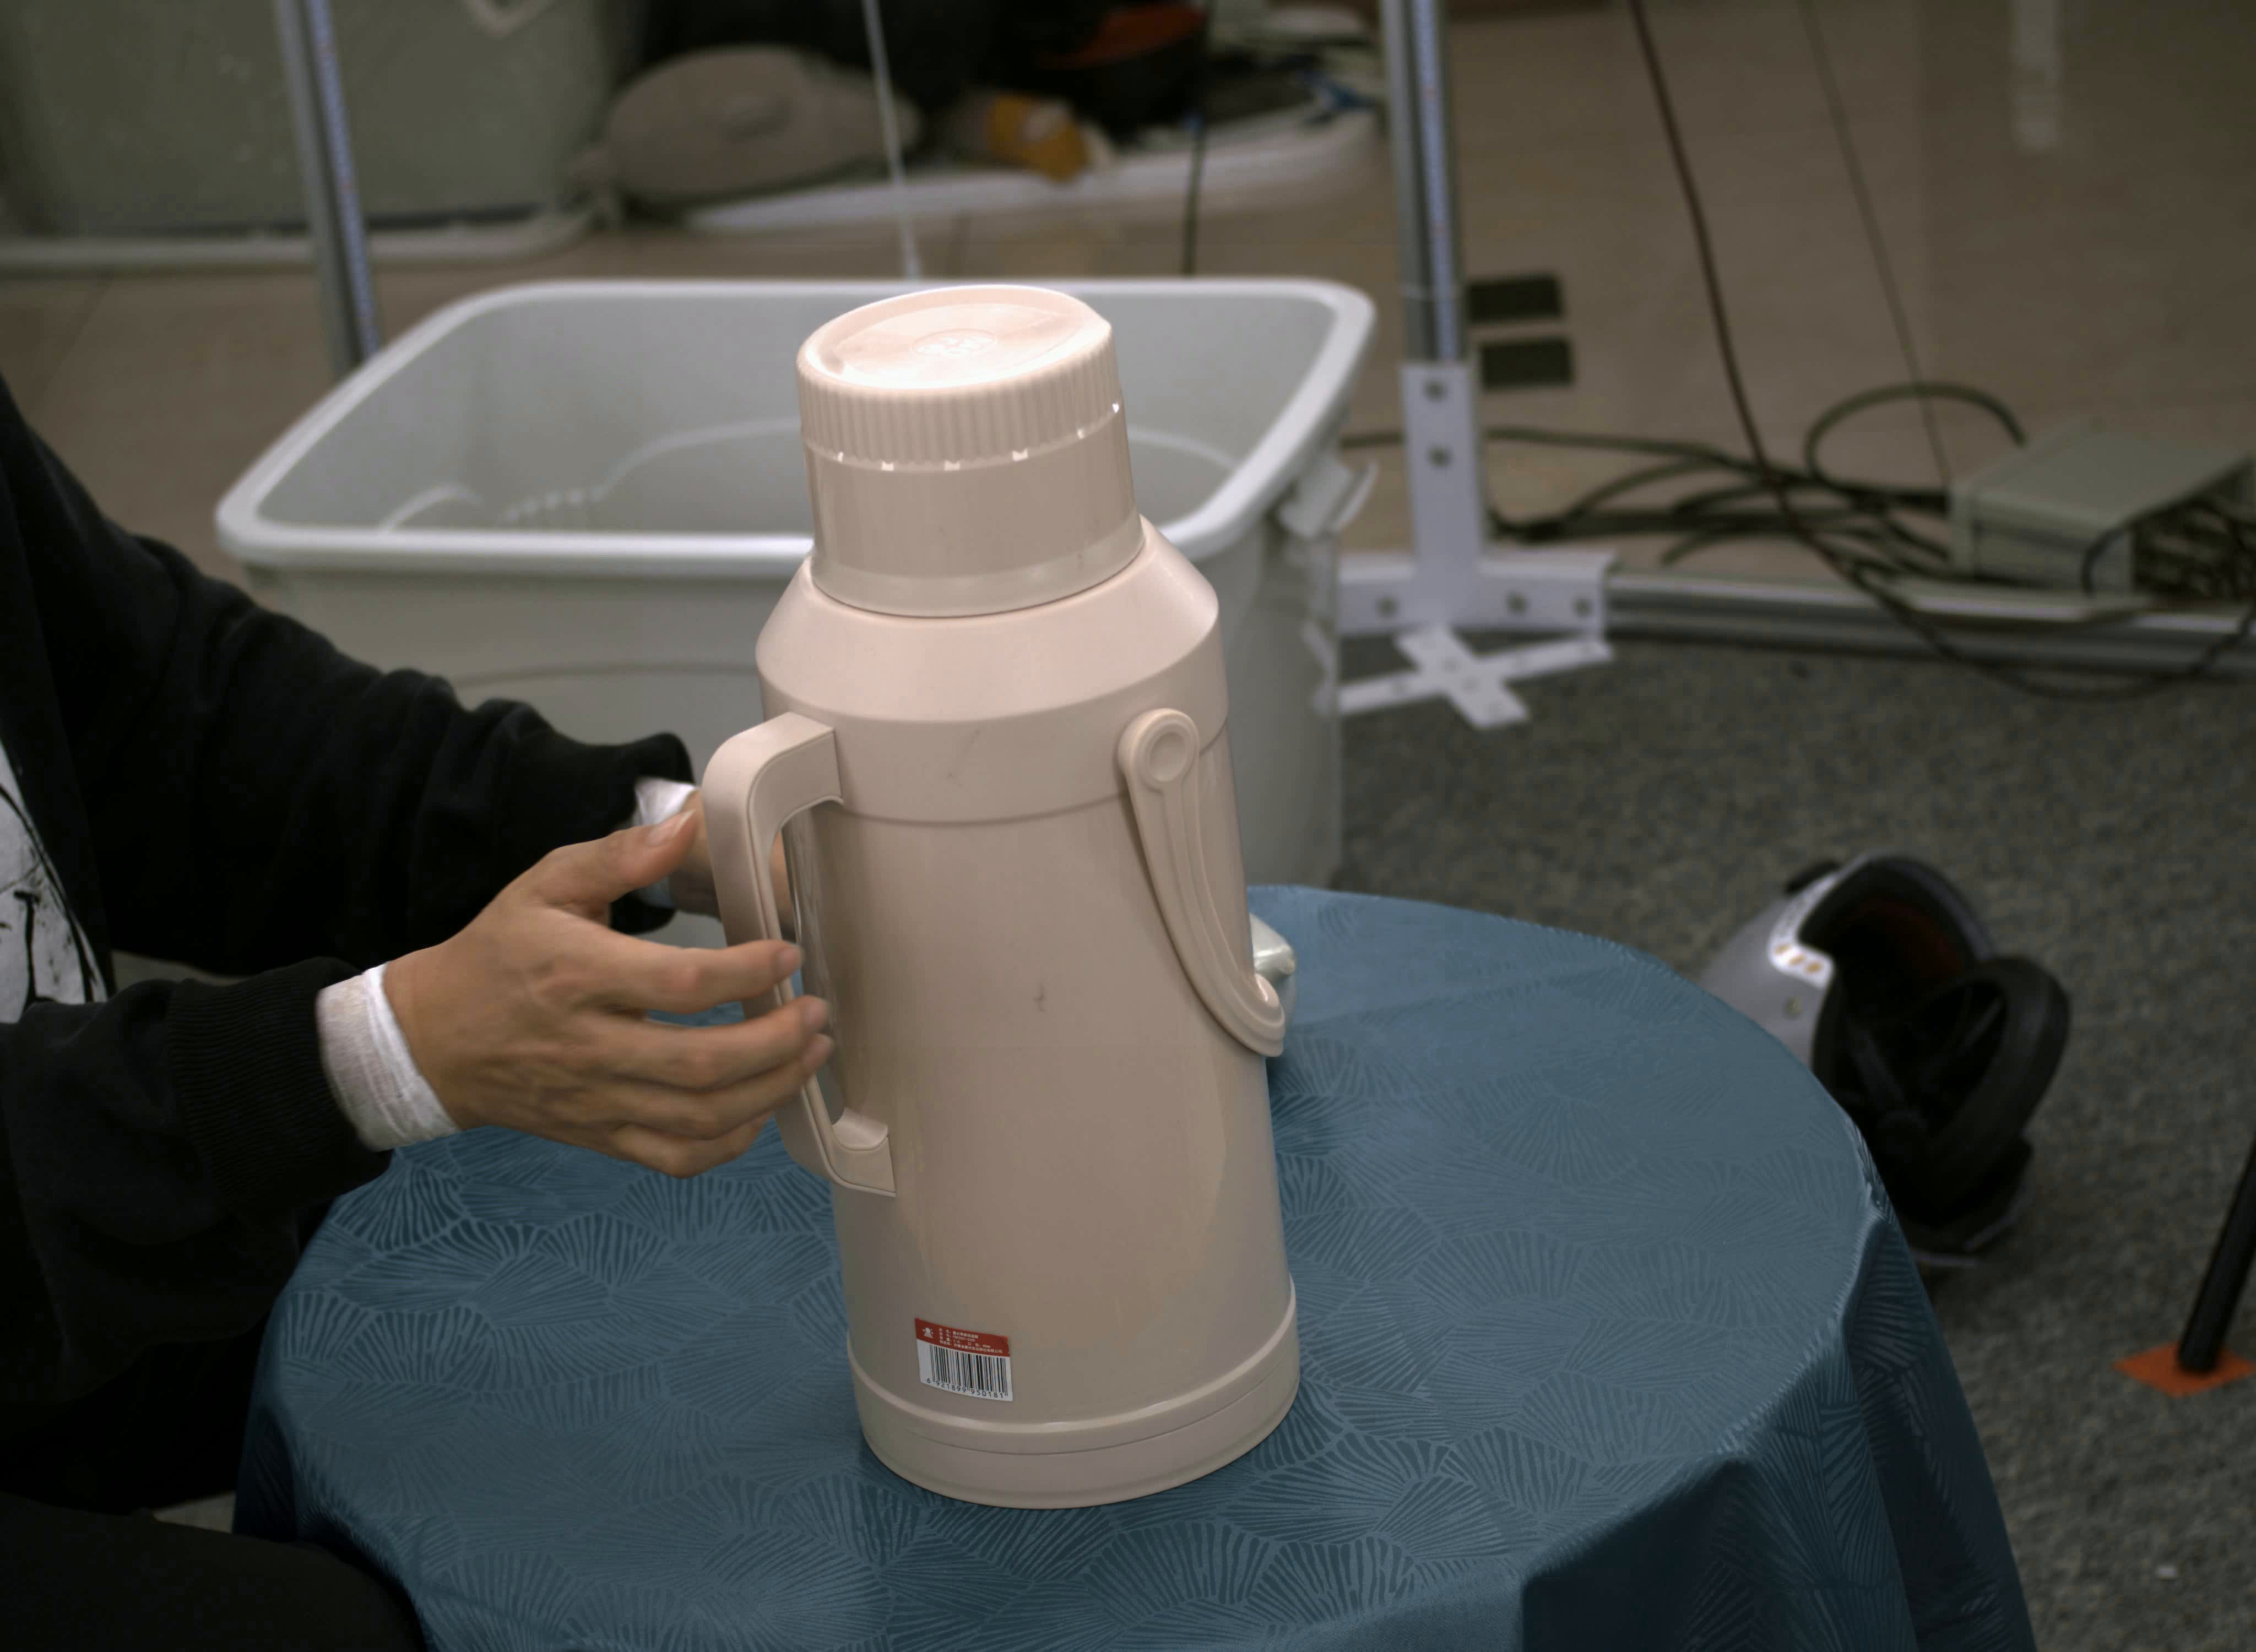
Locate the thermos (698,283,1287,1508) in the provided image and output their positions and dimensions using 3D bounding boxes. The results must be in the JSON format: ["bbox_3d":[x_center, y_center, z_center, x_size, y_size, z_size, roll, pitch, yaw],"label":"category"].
[{"bbox_3d":[-0.051,0.027,1.926,0.205,0.413,0.174,-26,33,-36],"label":"thermos"}]

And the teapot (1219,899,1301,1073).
[{"bbox_3d":[0.014,0.065,2.234,0.127,0.060,0.090,10,33,30],"label":"teapot"}]
